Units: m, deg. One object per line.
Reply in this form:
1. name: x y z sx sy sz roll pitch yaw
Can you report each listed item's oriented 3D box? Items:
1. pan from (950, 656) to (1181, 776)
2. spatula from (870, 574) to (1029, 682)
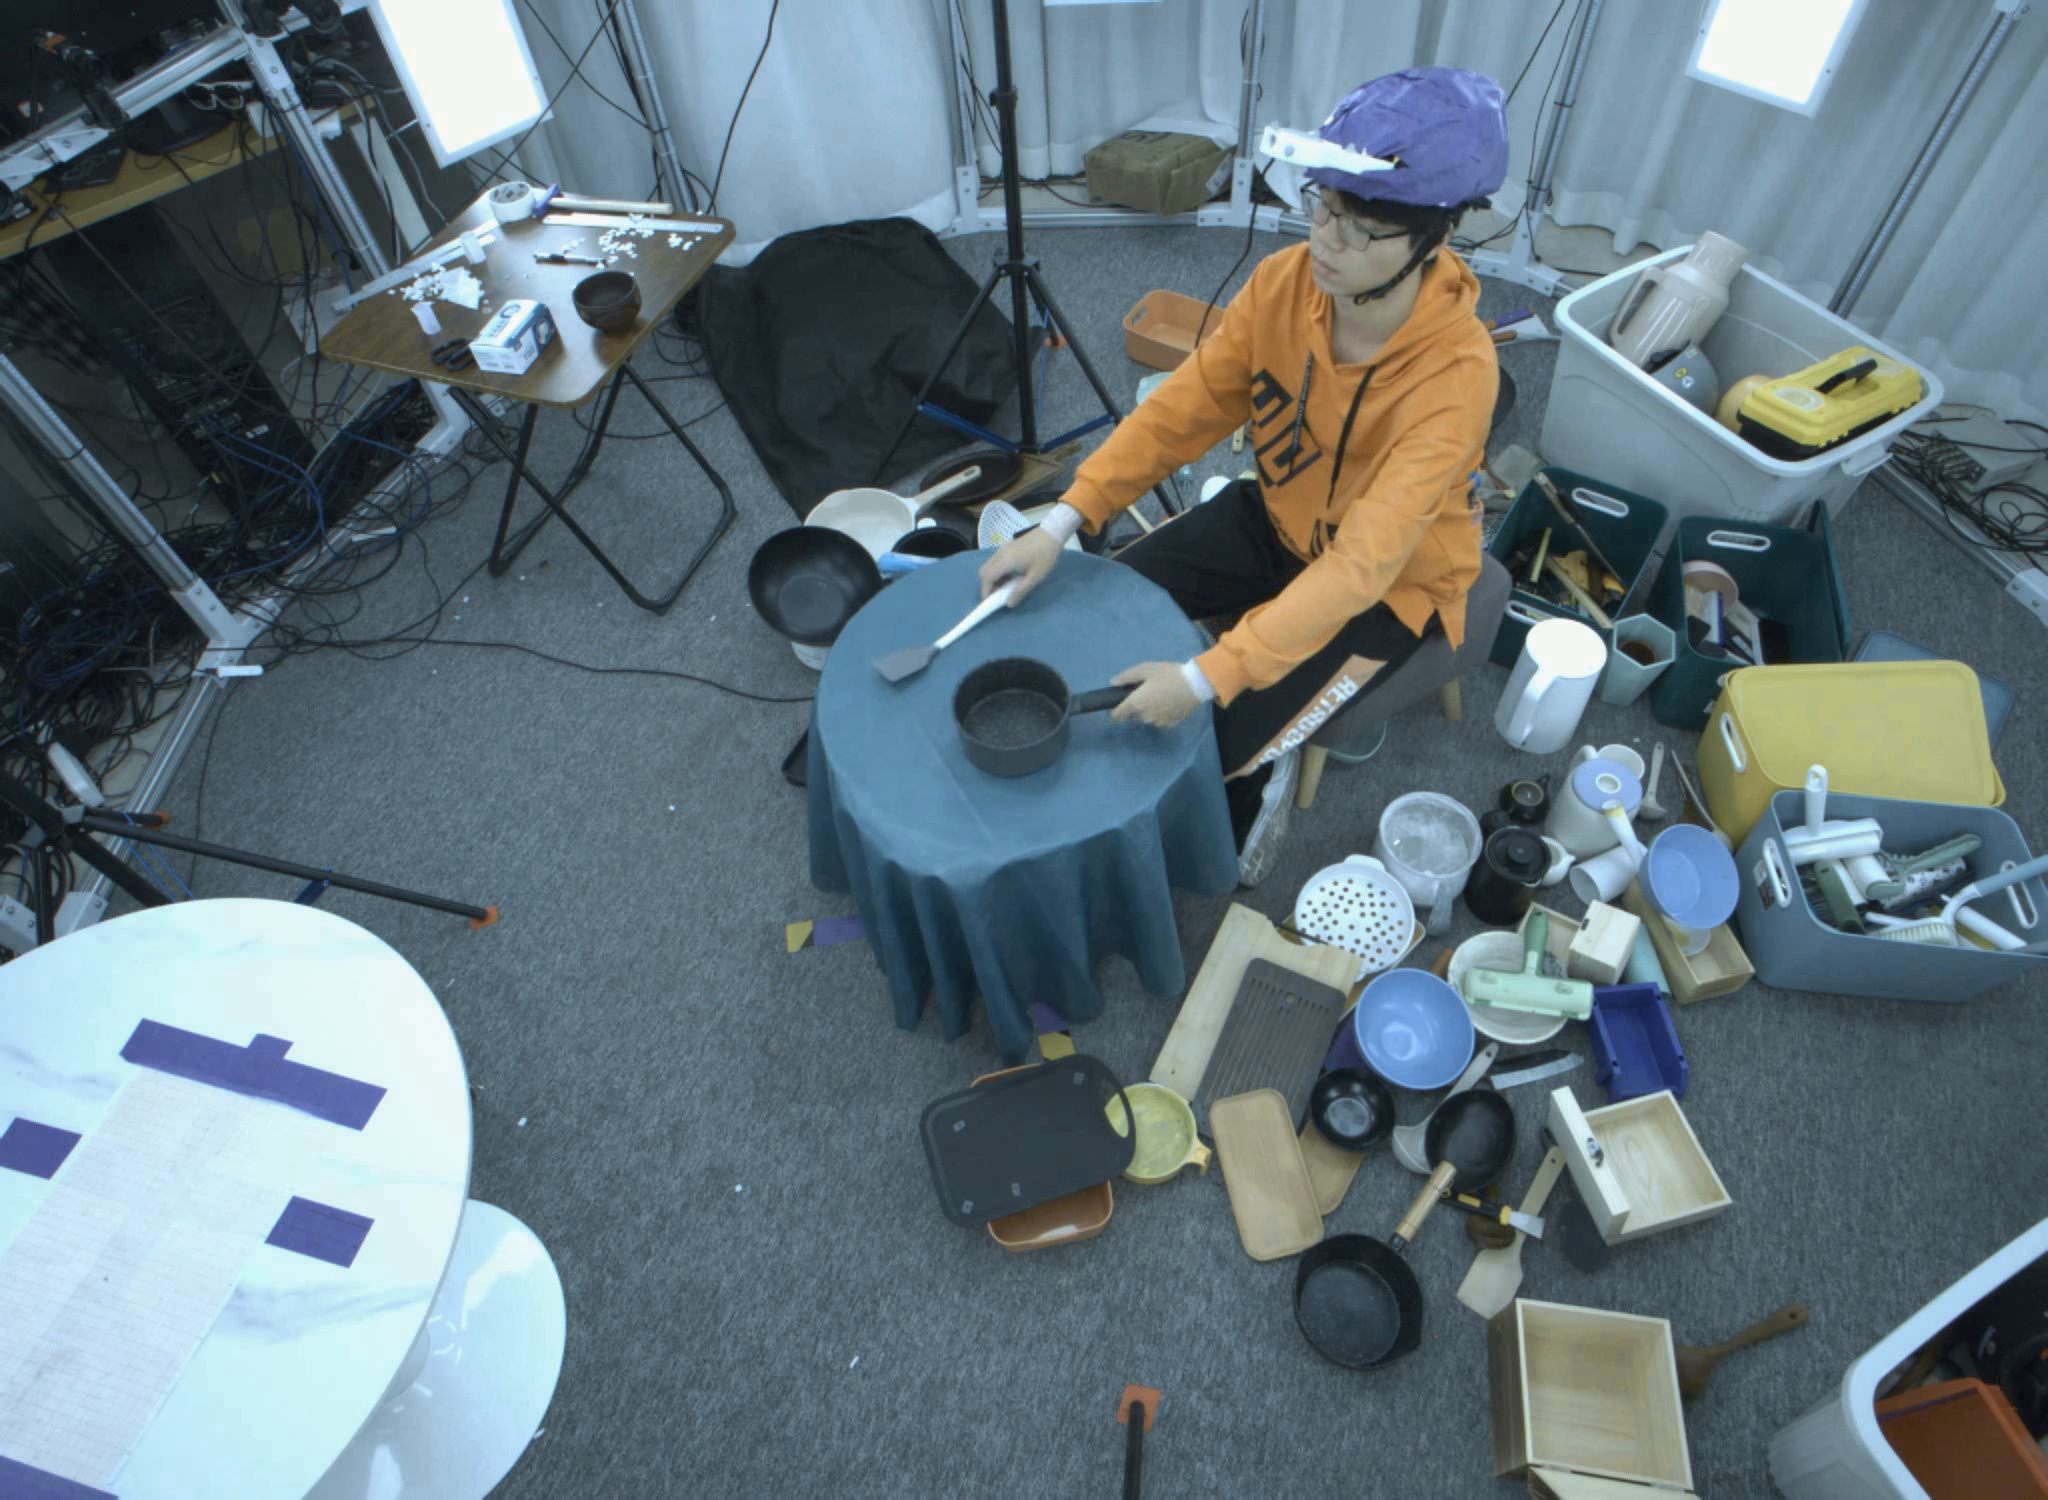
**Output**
1. pan: 0.062 -0.055 1.772 0.328 0.087 0.170 -4 55 1
2. spatula: -0.110 -0.188 1.905 0.290 0.032 0.058 -36 64 -22
